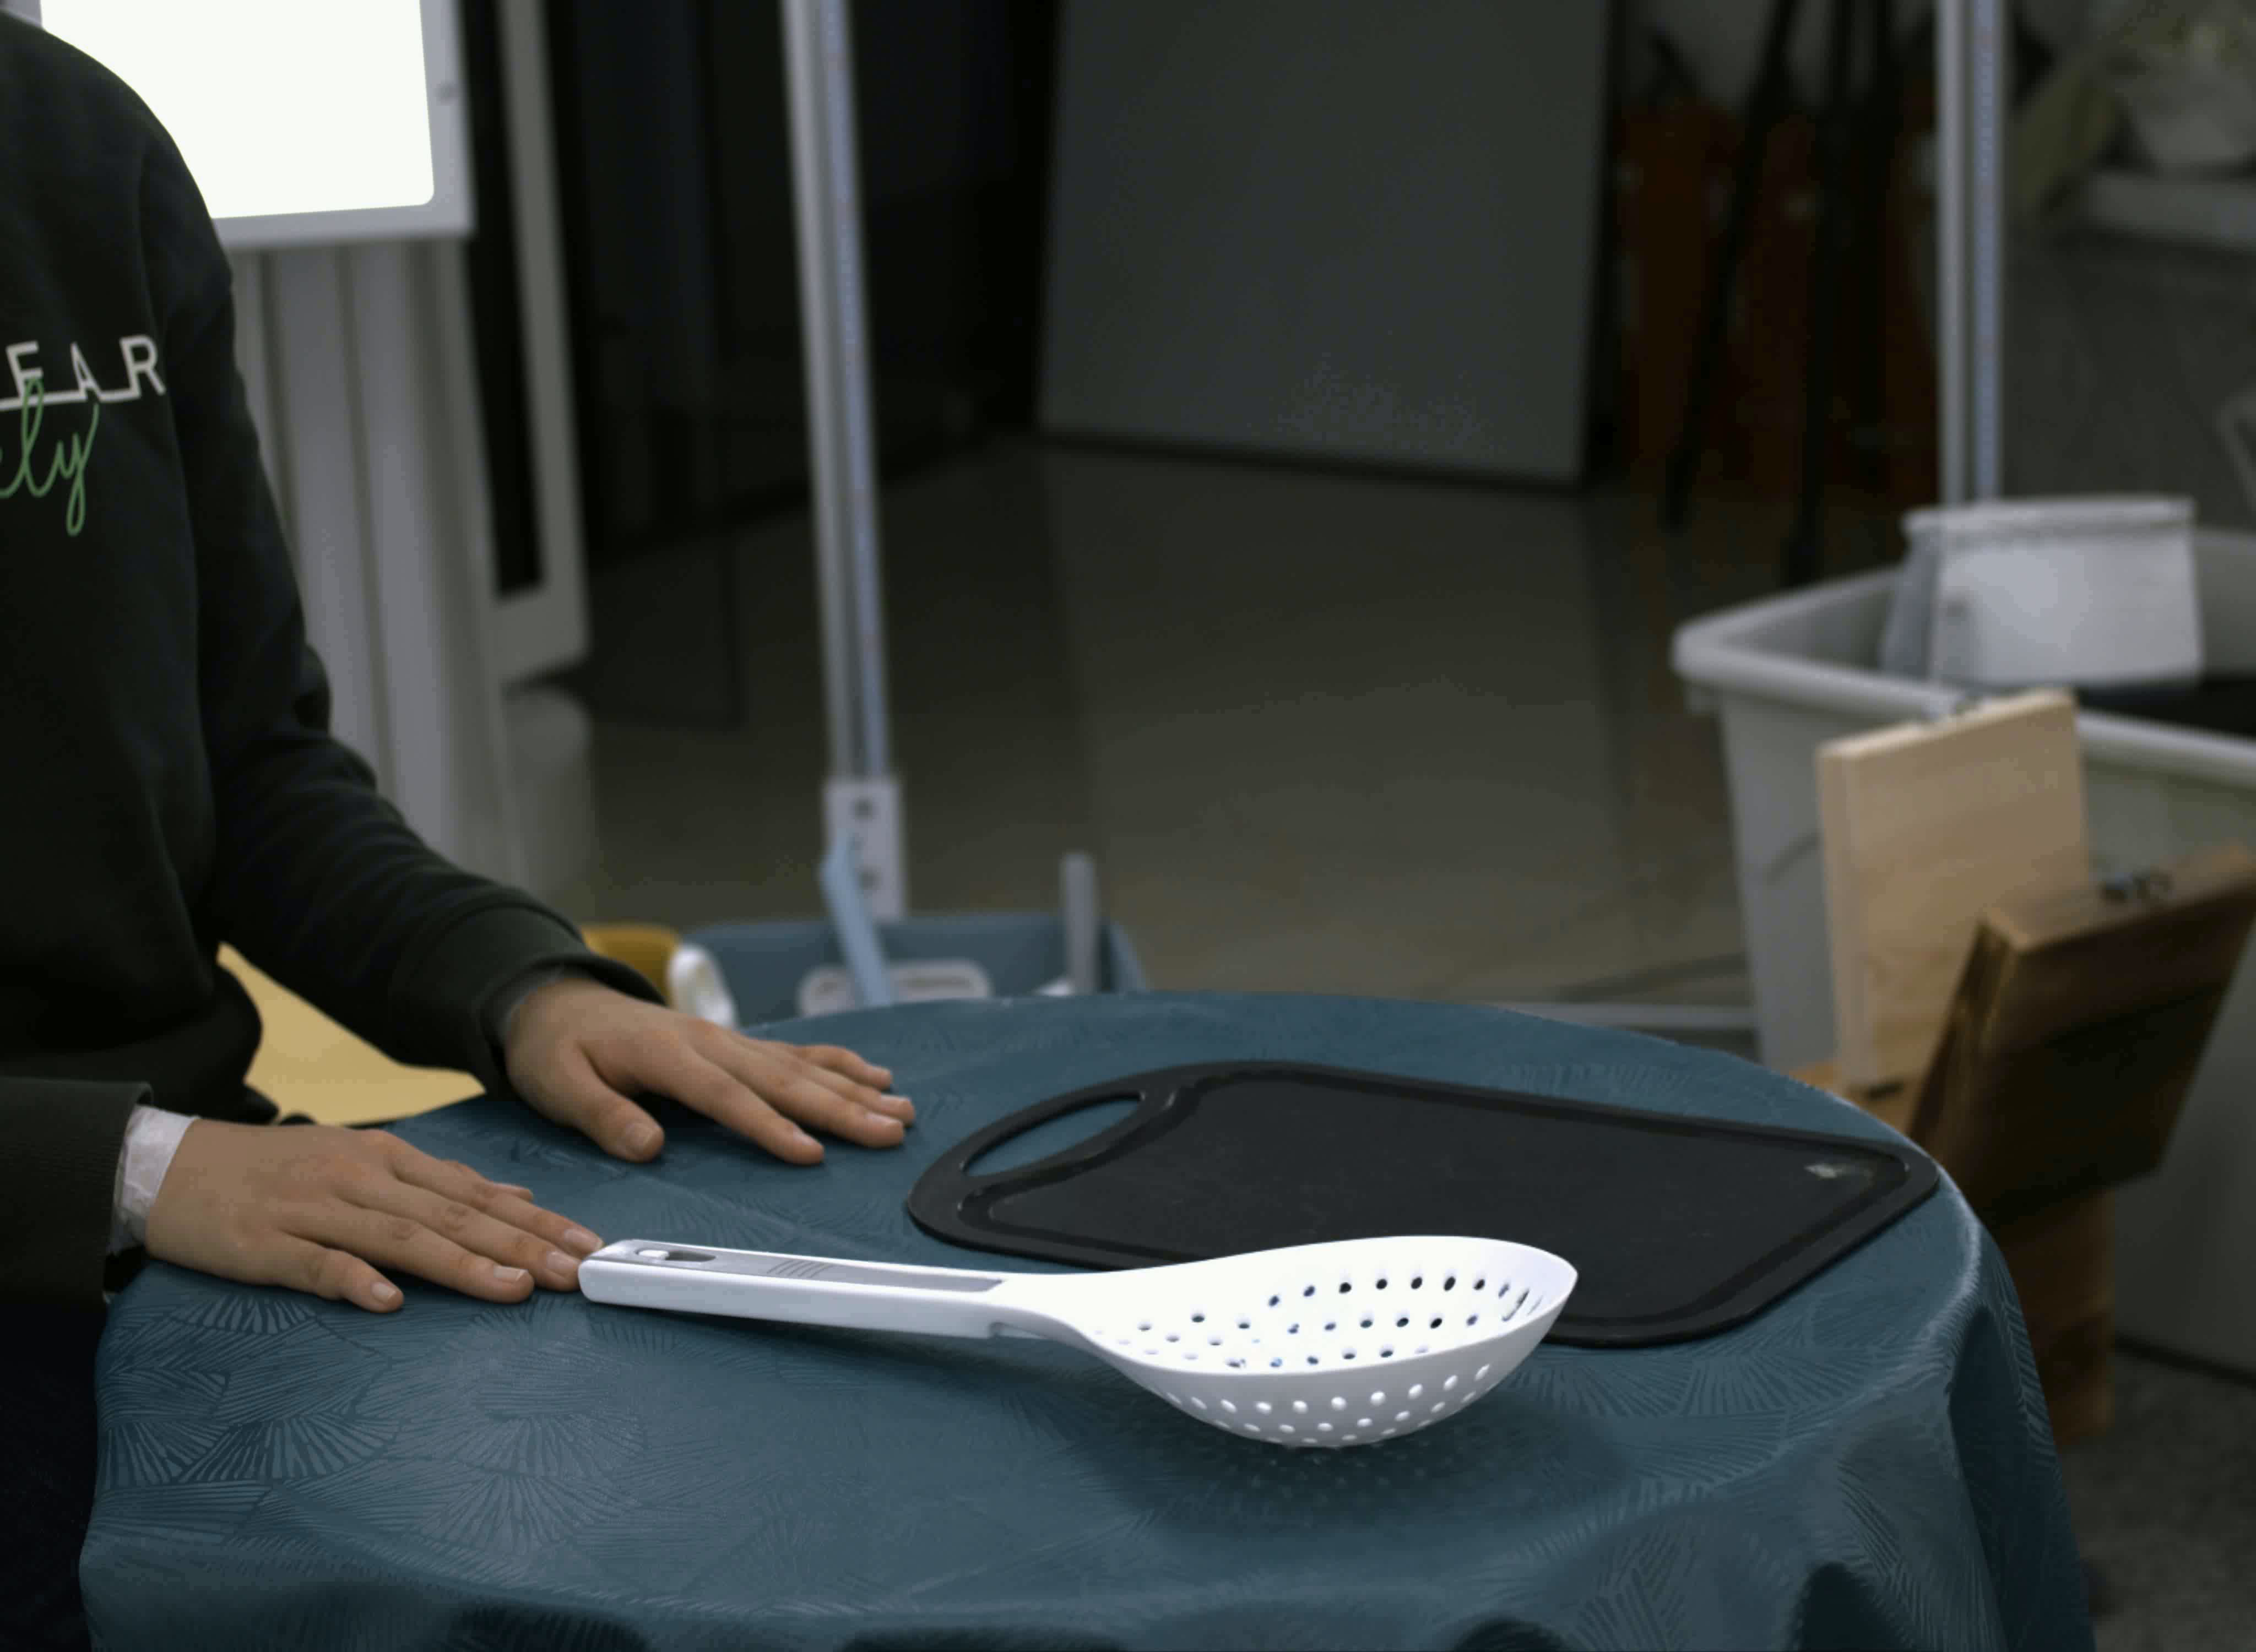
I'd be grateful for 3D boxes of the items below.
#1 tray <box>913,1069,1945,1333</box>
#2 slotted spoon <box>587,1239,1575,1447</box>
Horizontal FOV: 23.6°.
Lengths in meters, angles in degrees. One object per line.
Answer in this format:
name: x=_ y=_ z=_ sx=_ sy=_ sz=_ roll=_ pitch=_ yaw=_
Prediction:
tray: x=0.089 y=0.117 z=1.748 sx=0.327 sy=0.010 sz=0.207 roll=5 pitch=16 yaw=35
slotted spoon: x=-0.025 y=0.142 z=1.597 sx=0.352 sy=0.046 sz=0.133 roll=5 pitch=14 yaw=37
